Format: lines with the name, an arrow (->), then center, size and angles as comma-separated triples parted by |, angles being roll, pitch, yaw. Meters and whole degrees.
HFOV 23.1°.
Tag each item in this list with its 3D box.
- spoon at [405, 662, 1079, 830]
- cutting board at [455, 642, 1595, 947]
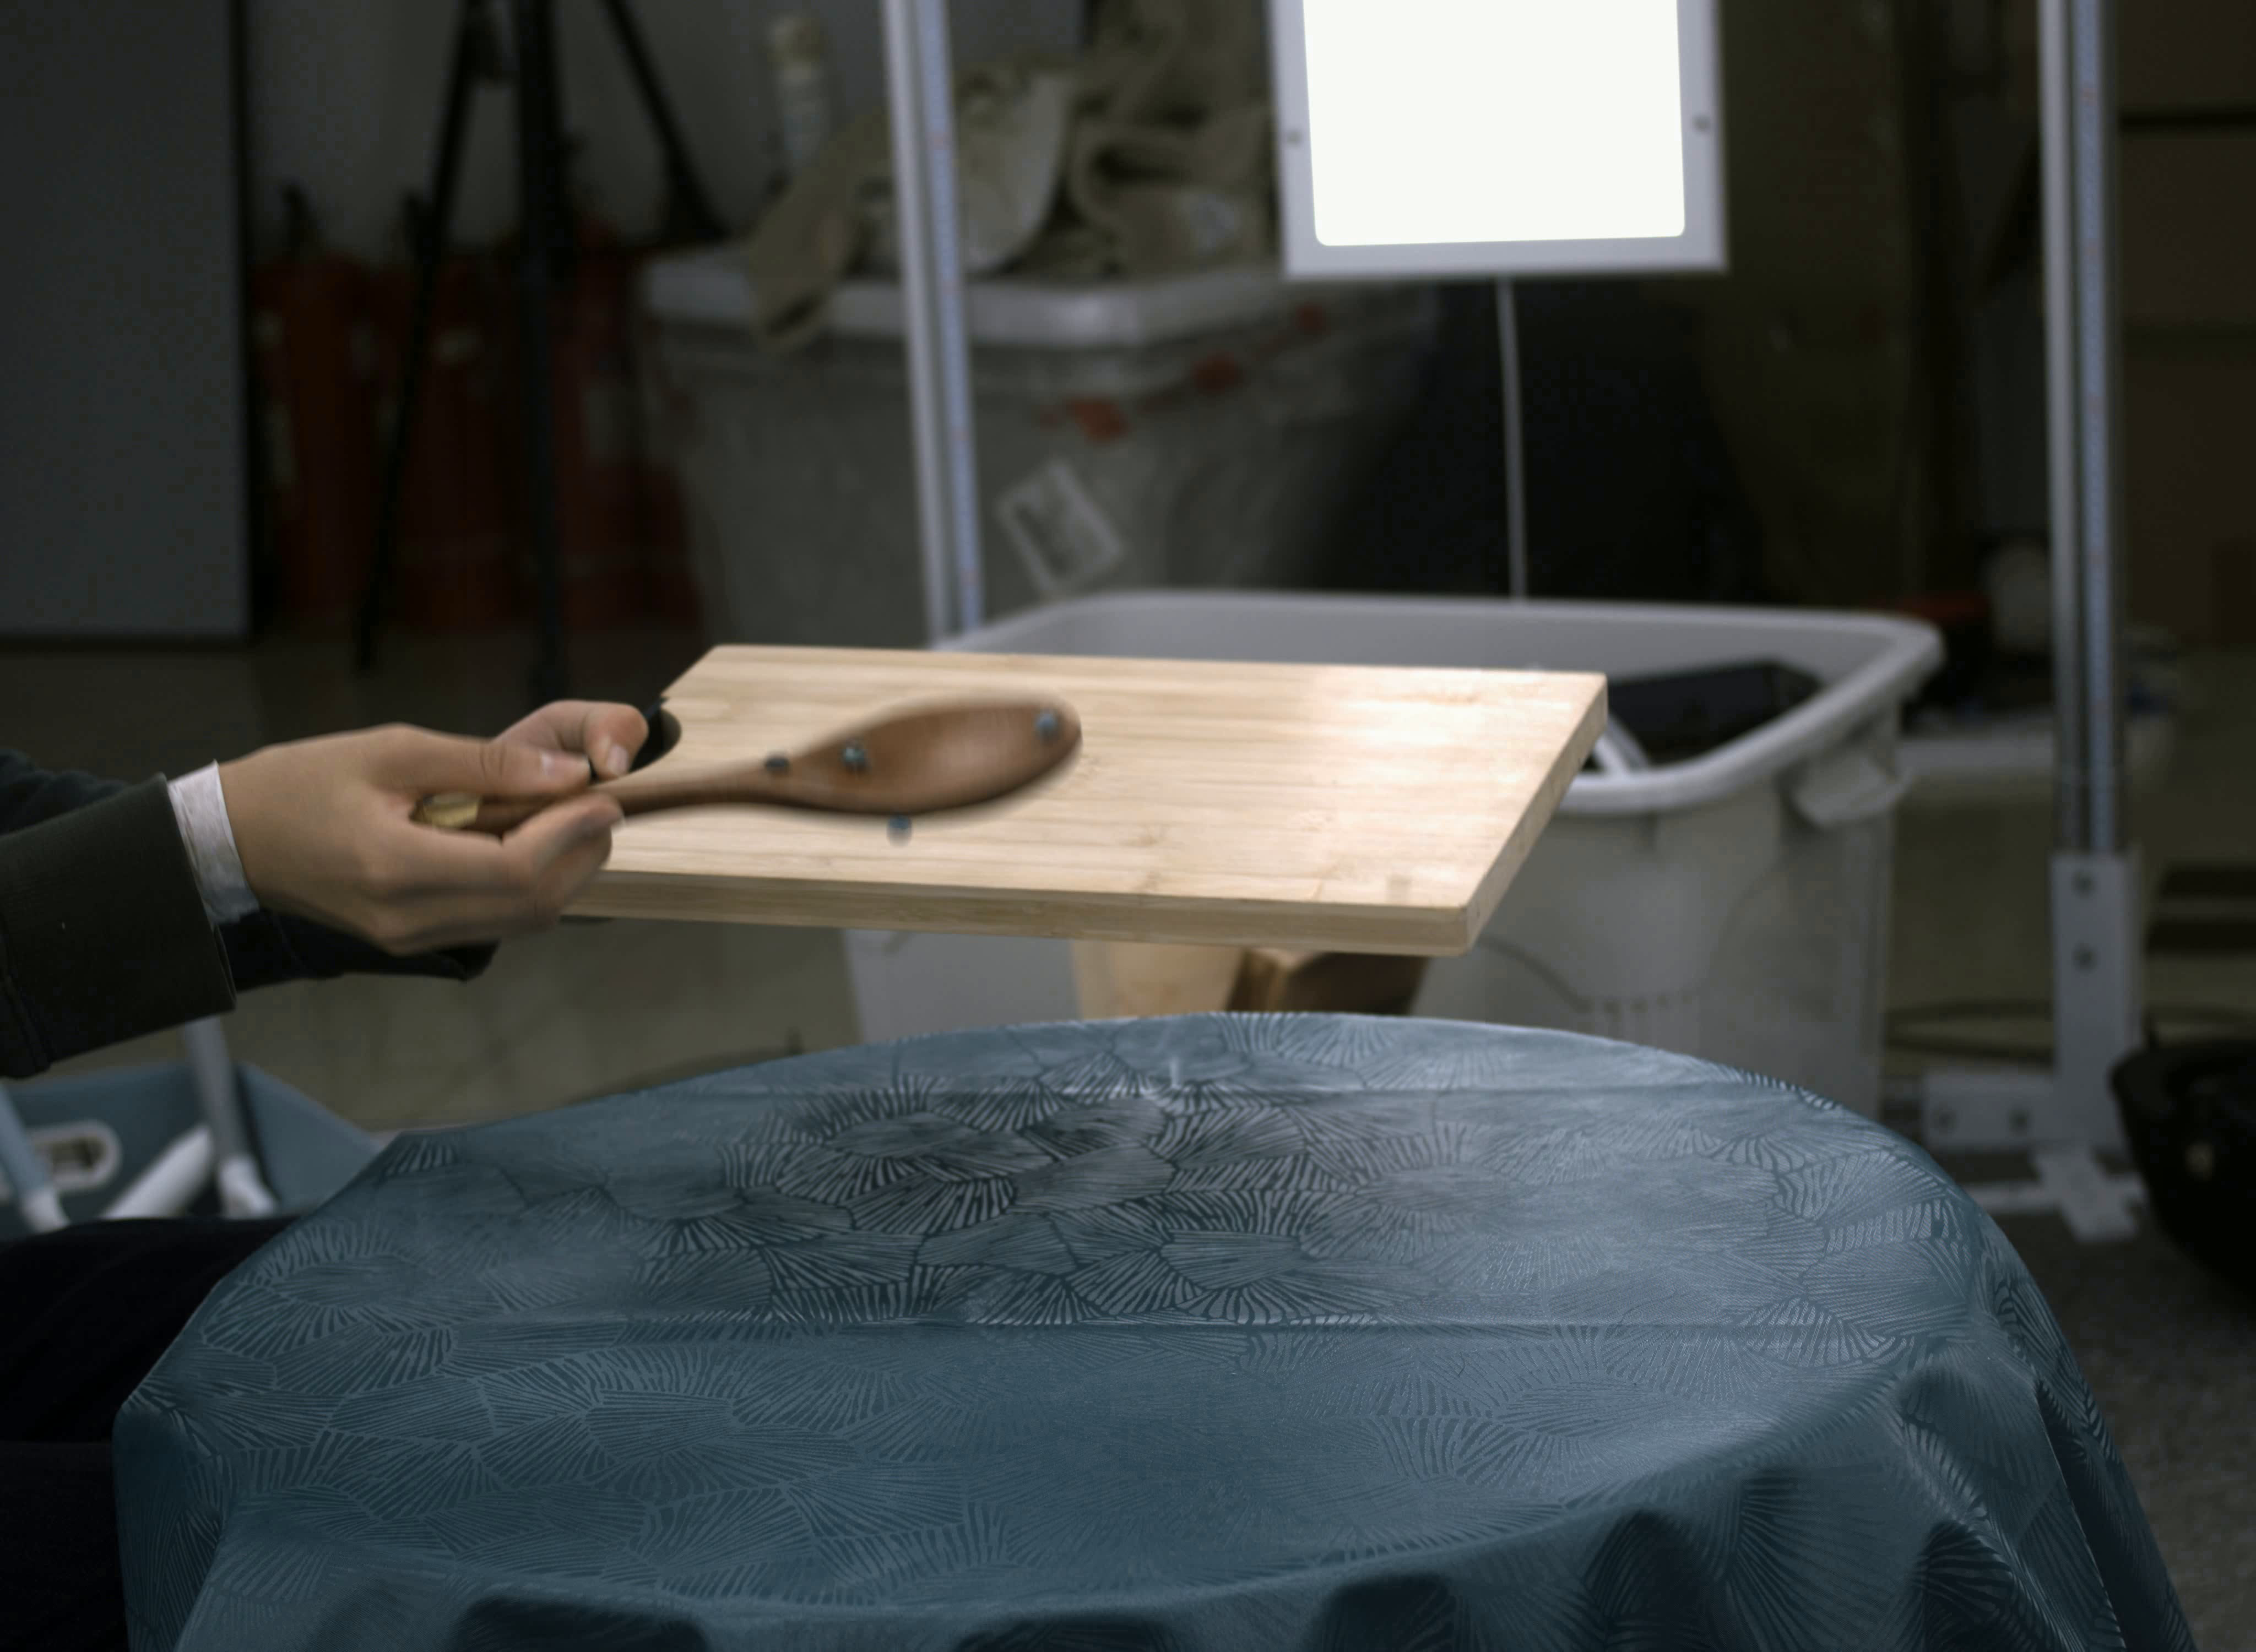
spoon -> -0.120, -0.020, 1.715 | 0.217, 0.017, 0.075 | -8, 26, 10
cutting board -> -0.030, -0.014, 1.908 | 0.352, 0.024, 0.247 | 2, 20, 17
